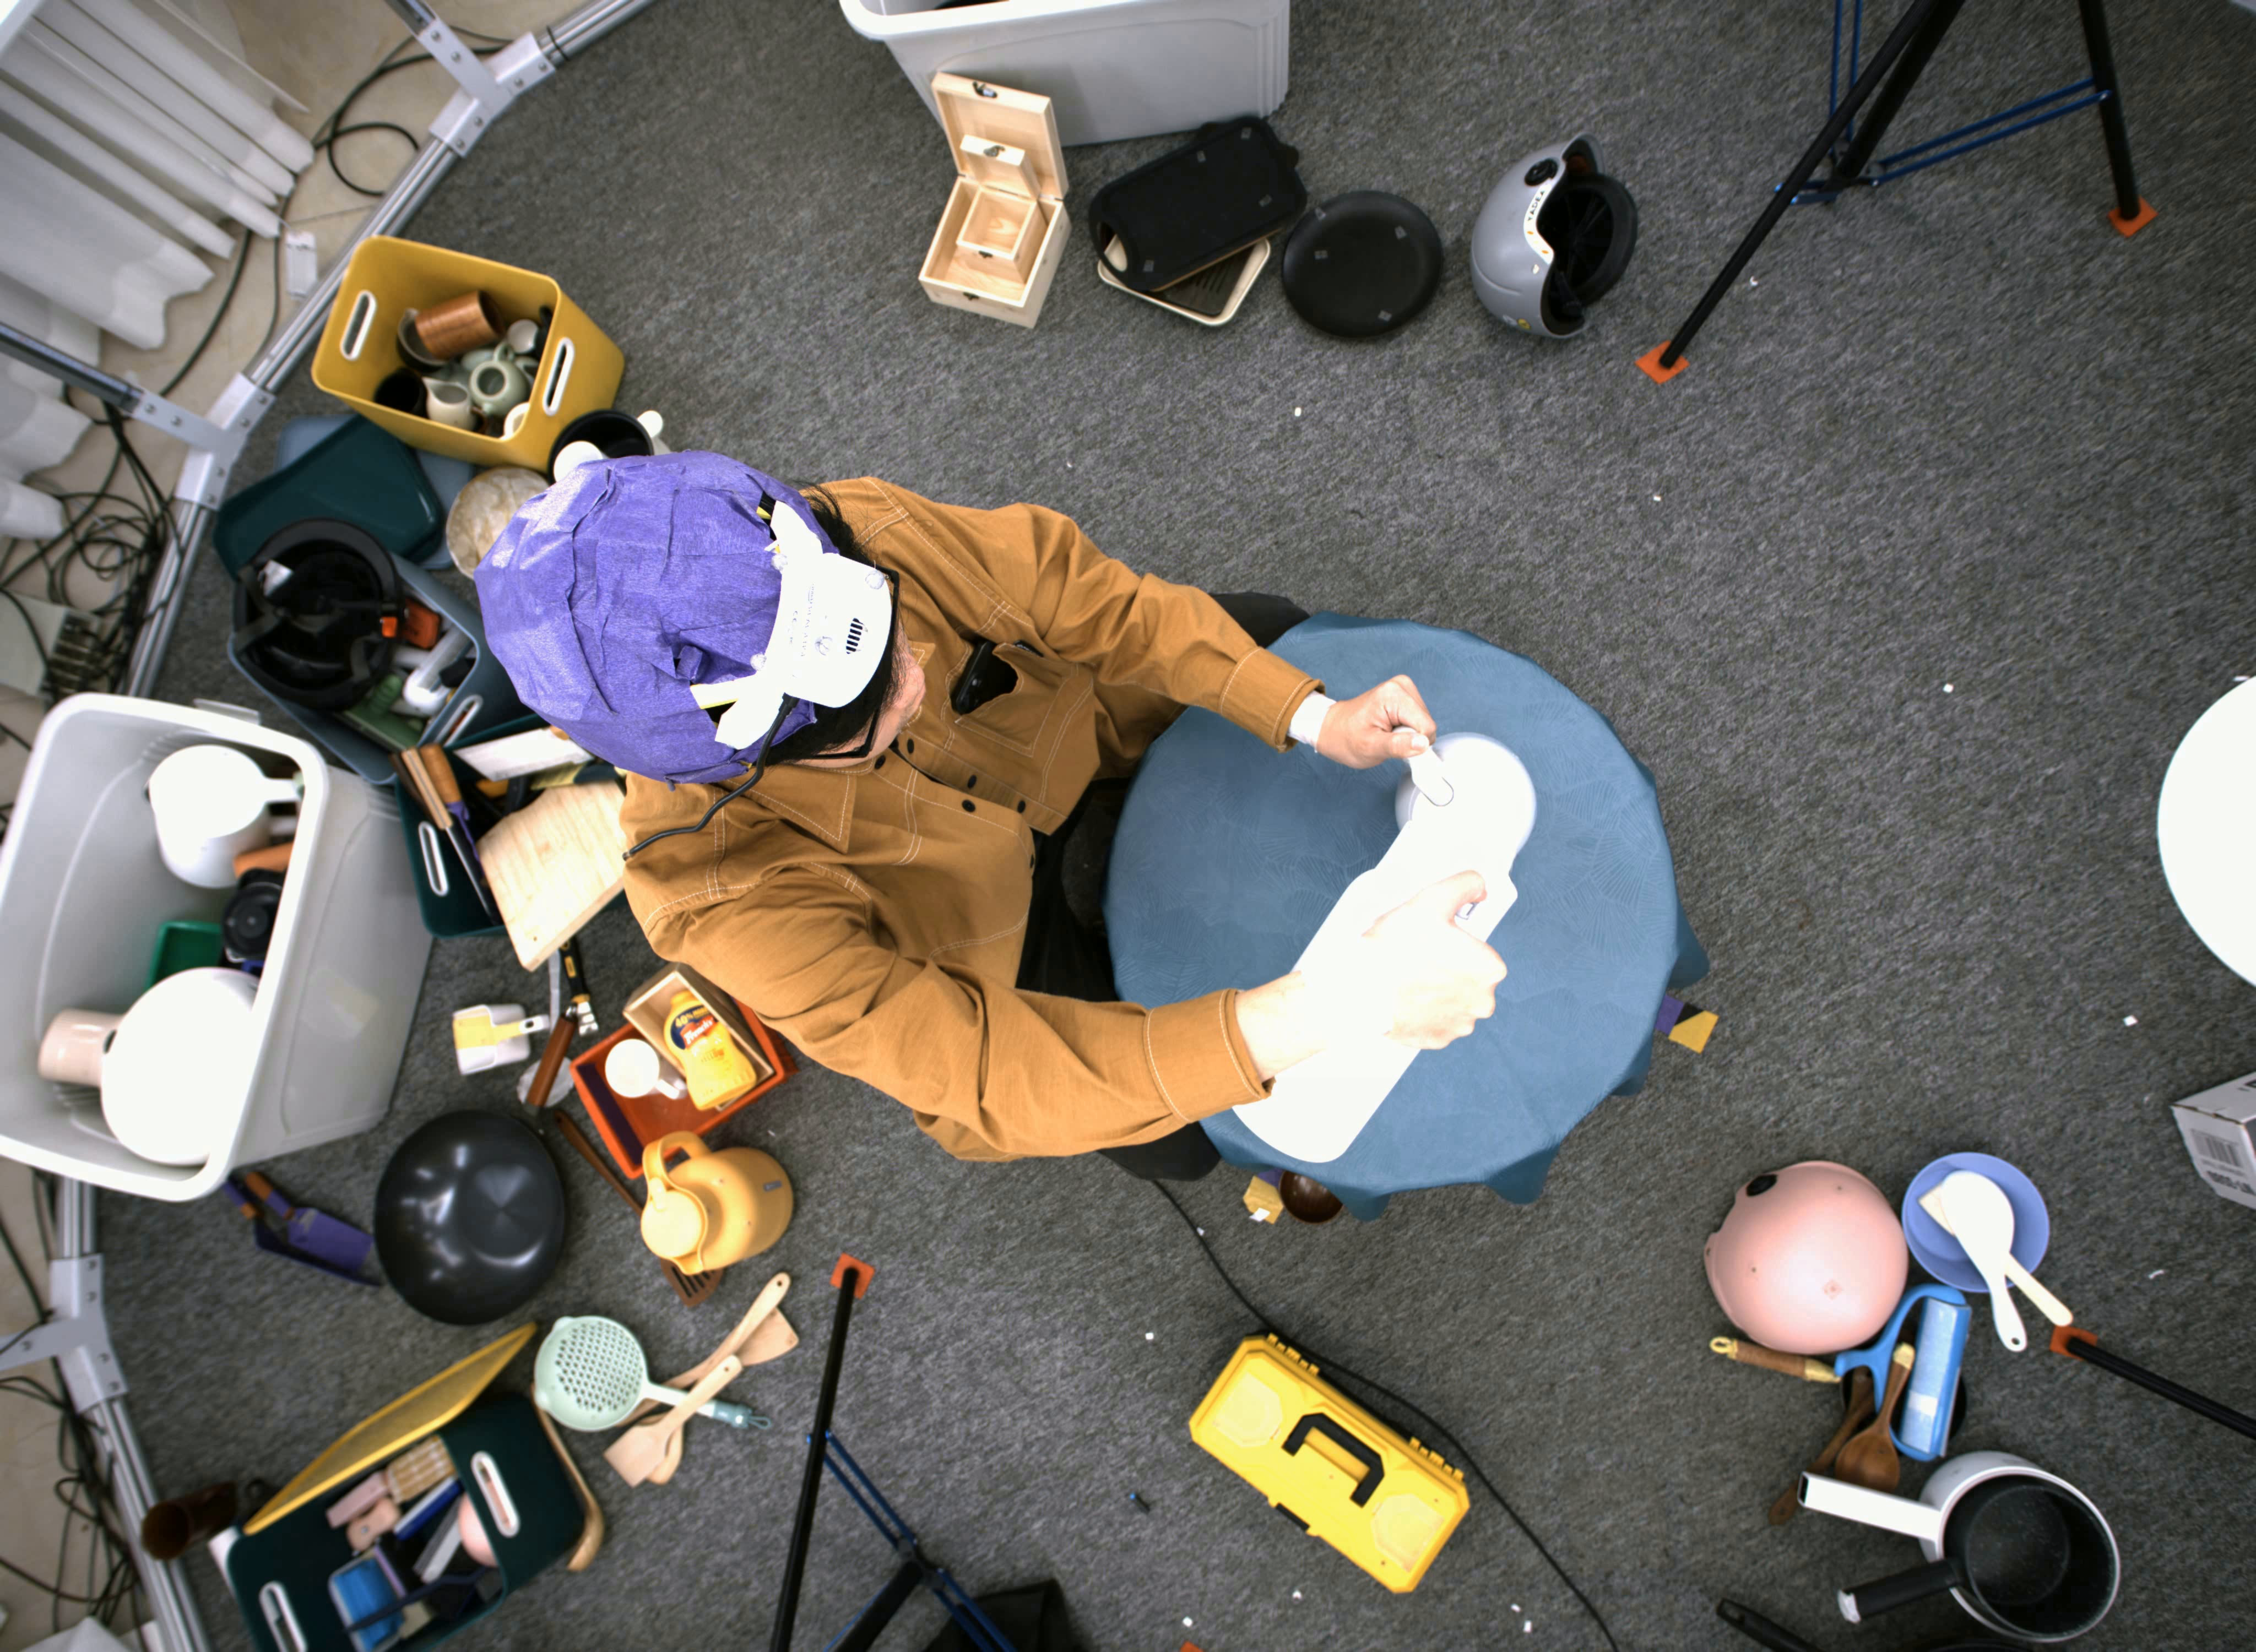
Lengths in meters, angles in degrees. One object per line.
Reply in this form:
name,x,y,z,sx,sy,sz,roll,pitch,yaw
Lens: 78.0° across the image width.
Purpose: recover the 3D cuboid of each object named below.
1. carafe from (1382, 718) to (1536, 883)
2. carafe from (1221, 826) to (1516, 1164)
carafe,0.295,-0.030,1.260,0.134,0.246,0.167,-41,86,14
carafe,0.184,0.139,1.068,0.124,0.169,0.274,31,114,-4
